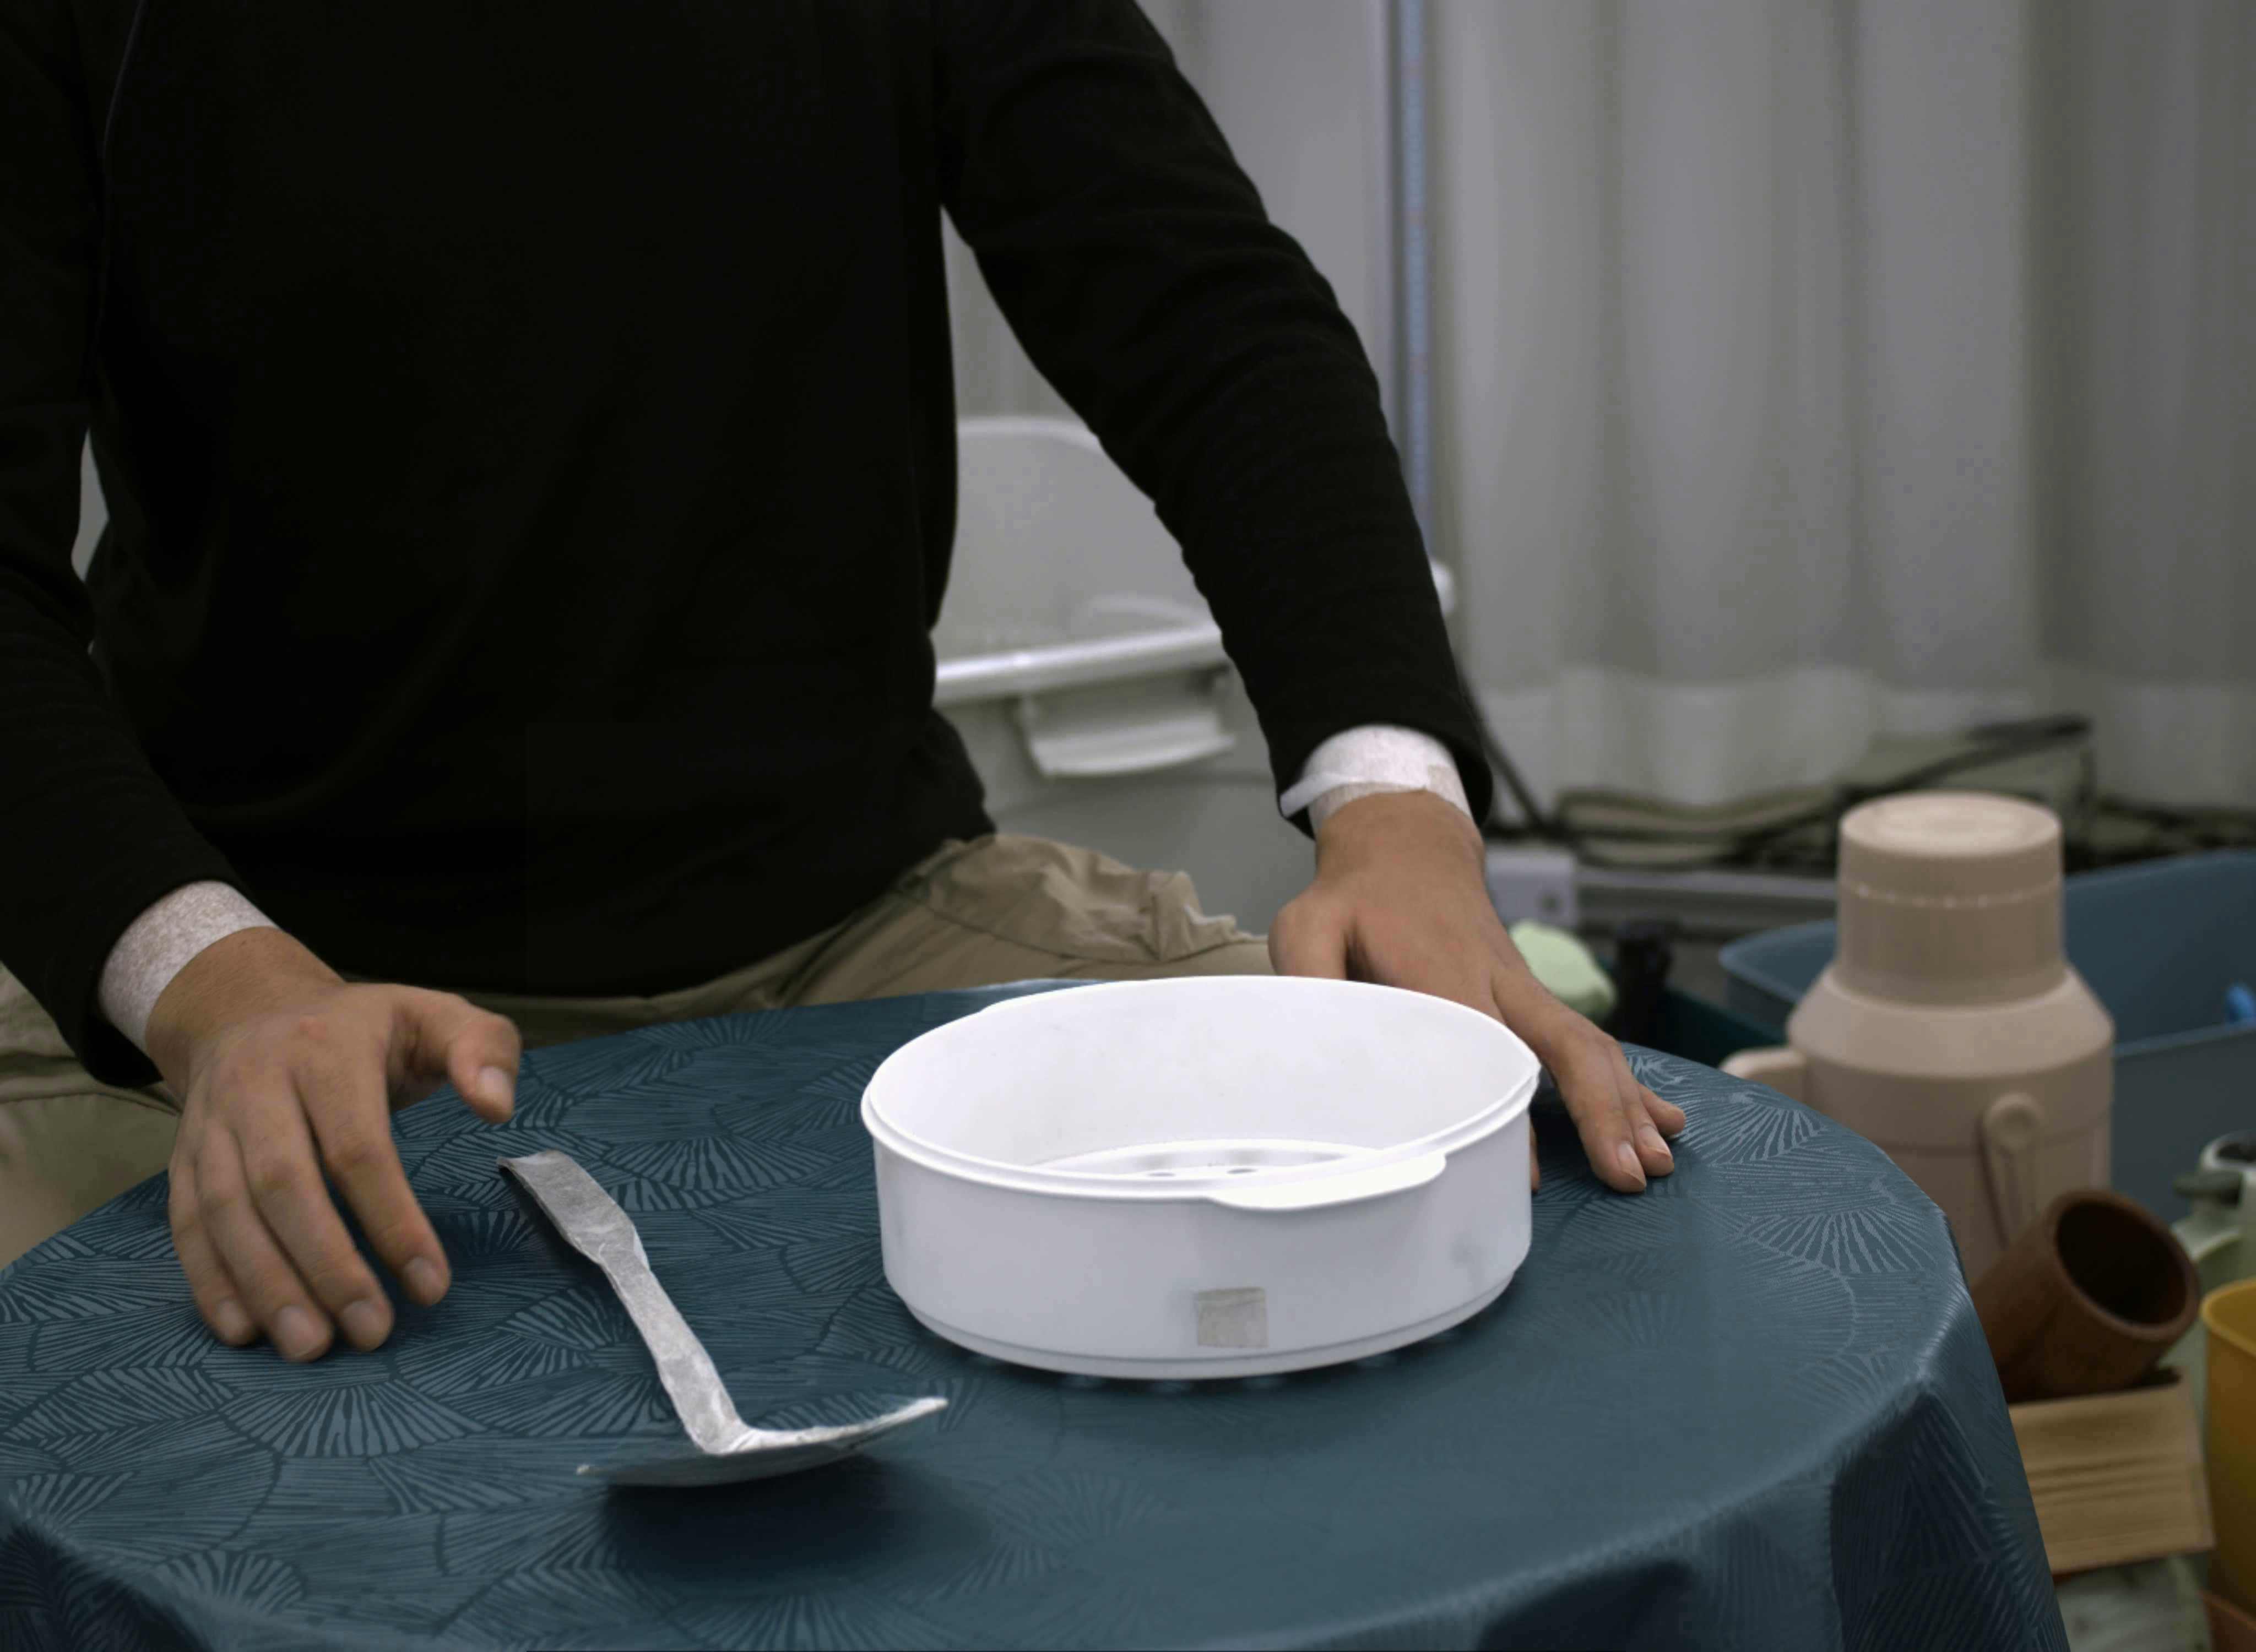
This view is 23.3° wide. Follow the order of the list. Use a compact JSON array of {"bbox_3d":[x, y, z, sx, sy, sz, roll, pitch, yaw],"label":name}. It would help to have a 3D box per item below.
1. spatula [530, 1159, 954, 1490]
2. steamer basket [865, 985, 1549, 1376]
[{"bbox_3d":[-0.136,0.135,1.590,0.098,0.044,0.368,-9,16,-15],"label":"spatula"},{"bbox_3d":[0.024,0.104,1.614,0.201,0.069,0.232,-7,14,-20],"label":"steamer basket"}]
